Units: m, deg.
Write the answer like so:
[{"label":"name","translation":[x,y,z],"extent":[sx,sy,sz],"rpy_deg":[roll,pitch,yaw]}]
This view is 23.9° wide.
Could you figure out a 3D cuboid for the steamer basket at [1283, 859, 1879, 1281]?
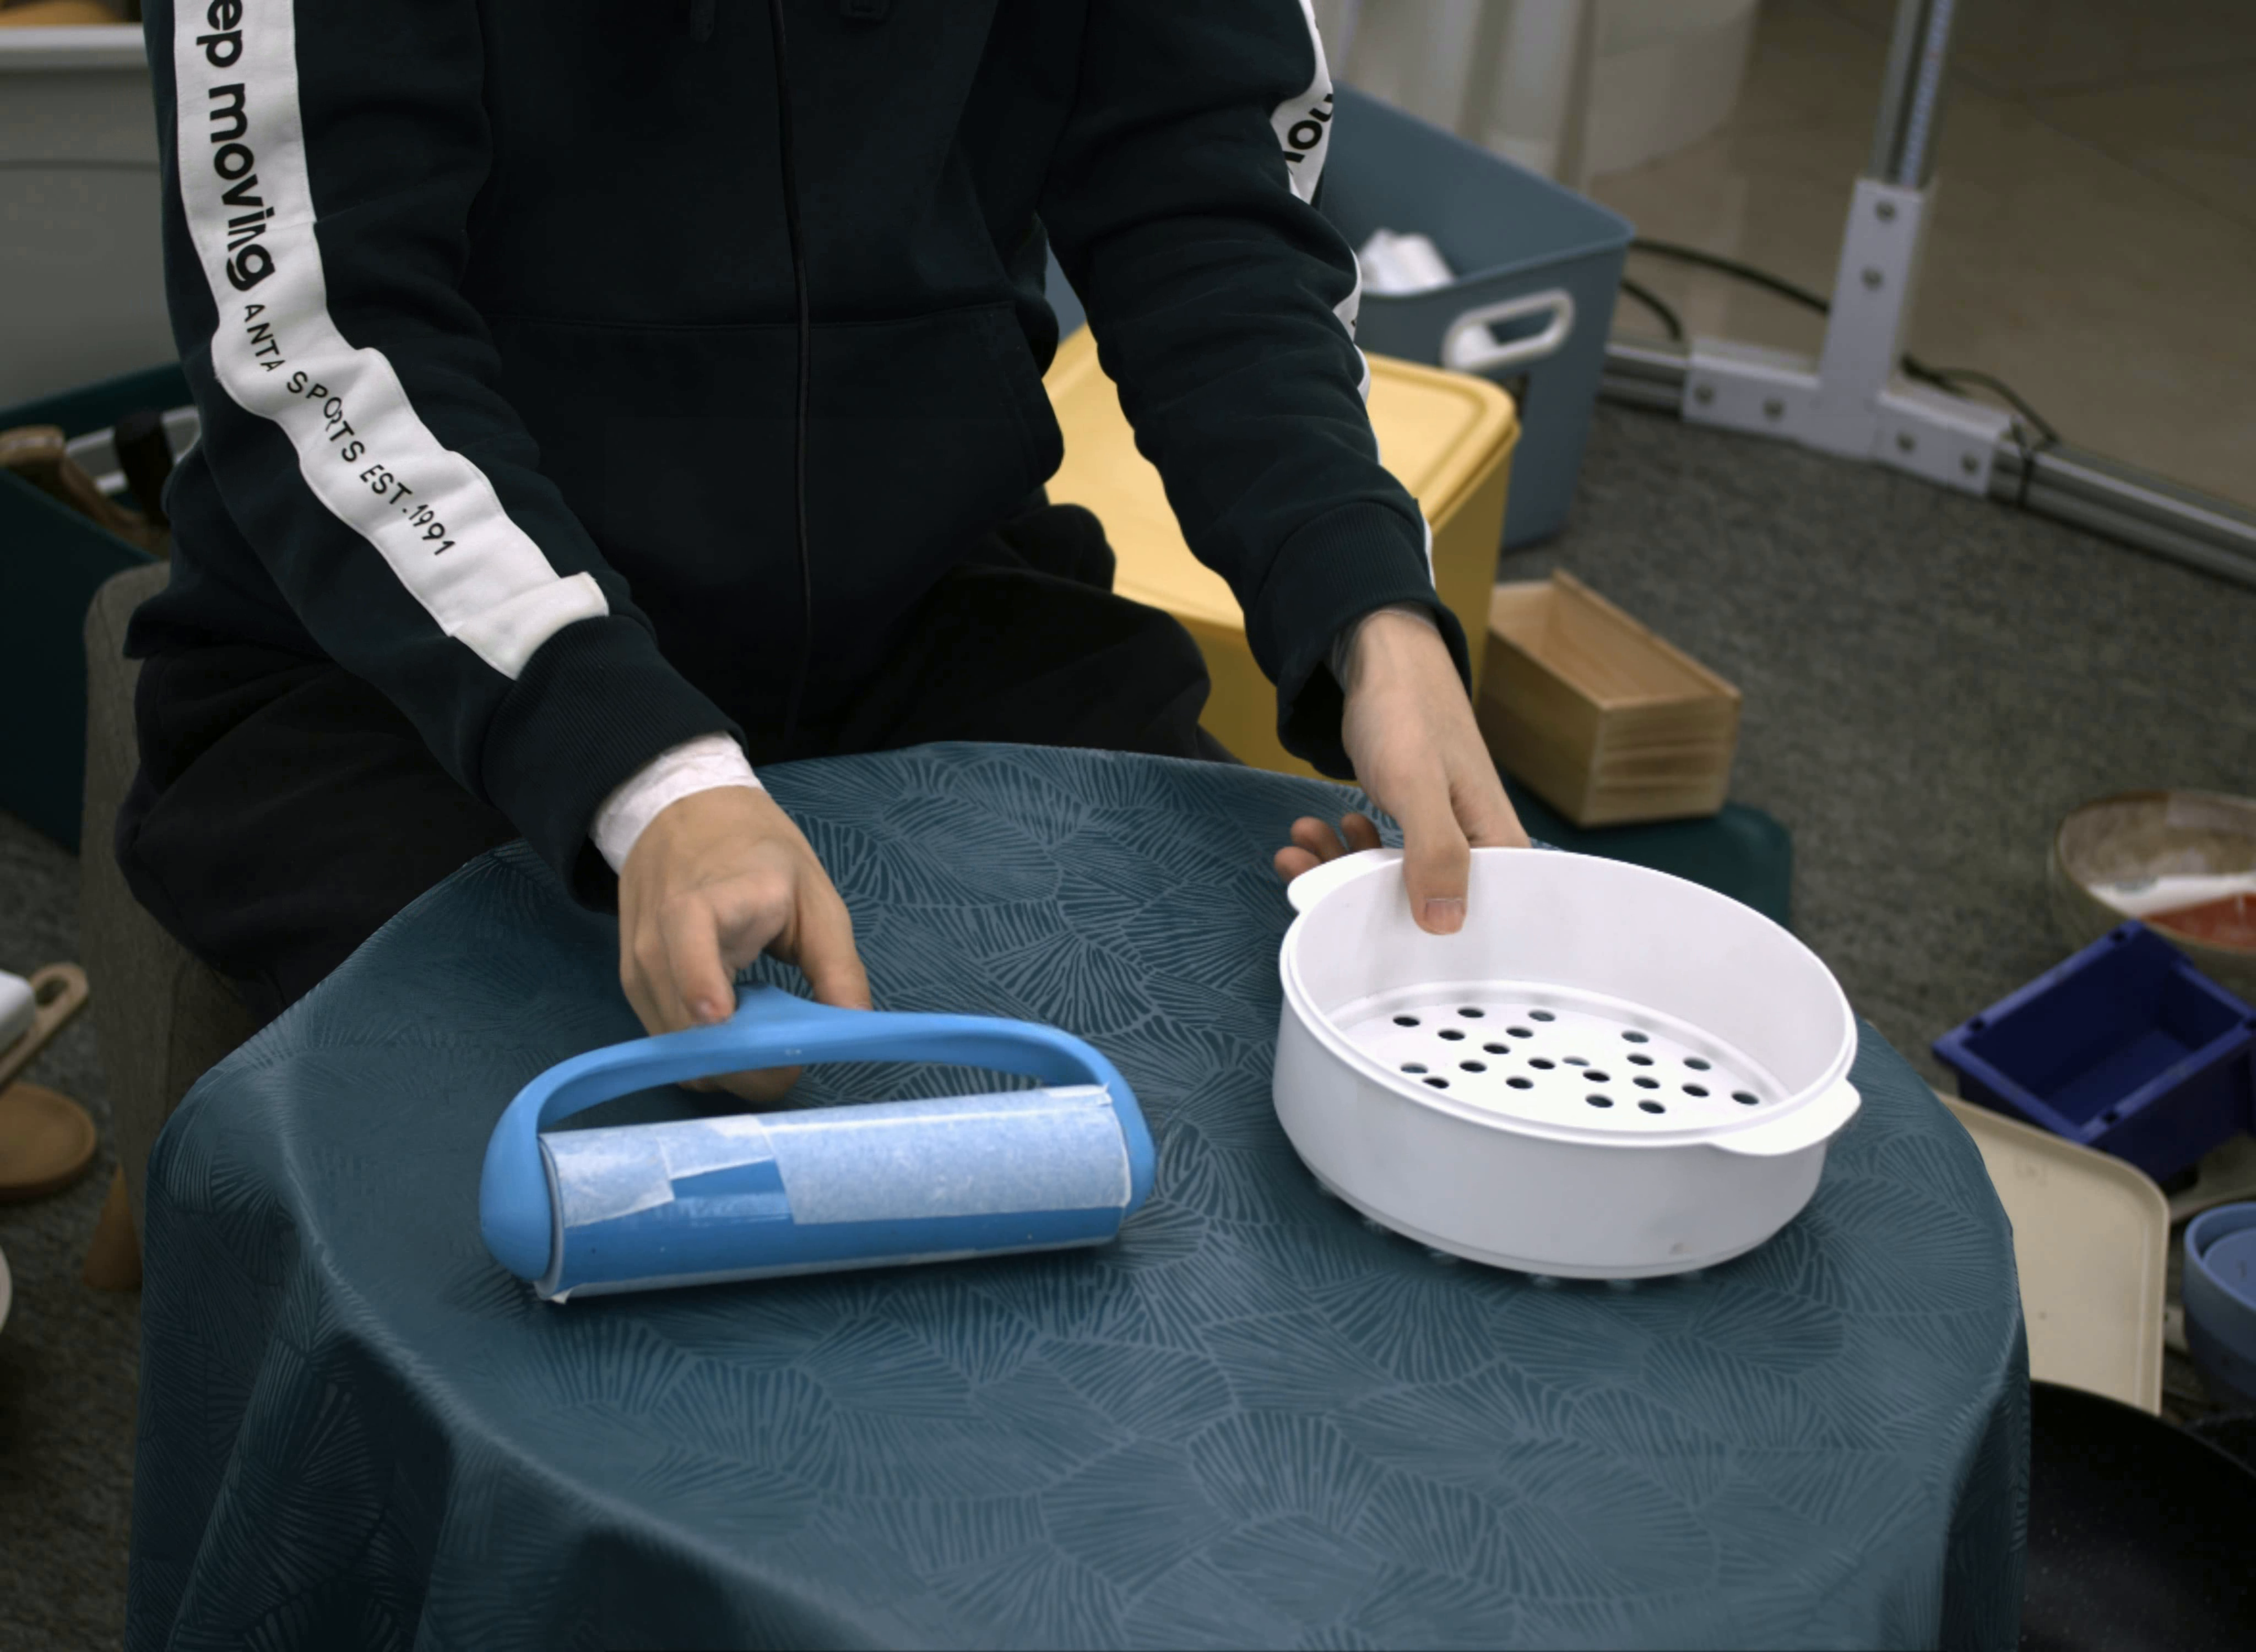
[{"label":"steamer basket","translation":[0.152,0.084,1.833],"extent":[0.201,0.069,0.232],"rpy_deg":[-18,35,-41]}]

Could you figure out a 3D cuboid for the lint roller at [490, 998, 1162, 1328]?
[{"label":"lint roller","translation":[-0.120,0.093,1.773],"extent":[0.227,0.067,0.182],"rpy_deg":[-9,32,-23]}]
